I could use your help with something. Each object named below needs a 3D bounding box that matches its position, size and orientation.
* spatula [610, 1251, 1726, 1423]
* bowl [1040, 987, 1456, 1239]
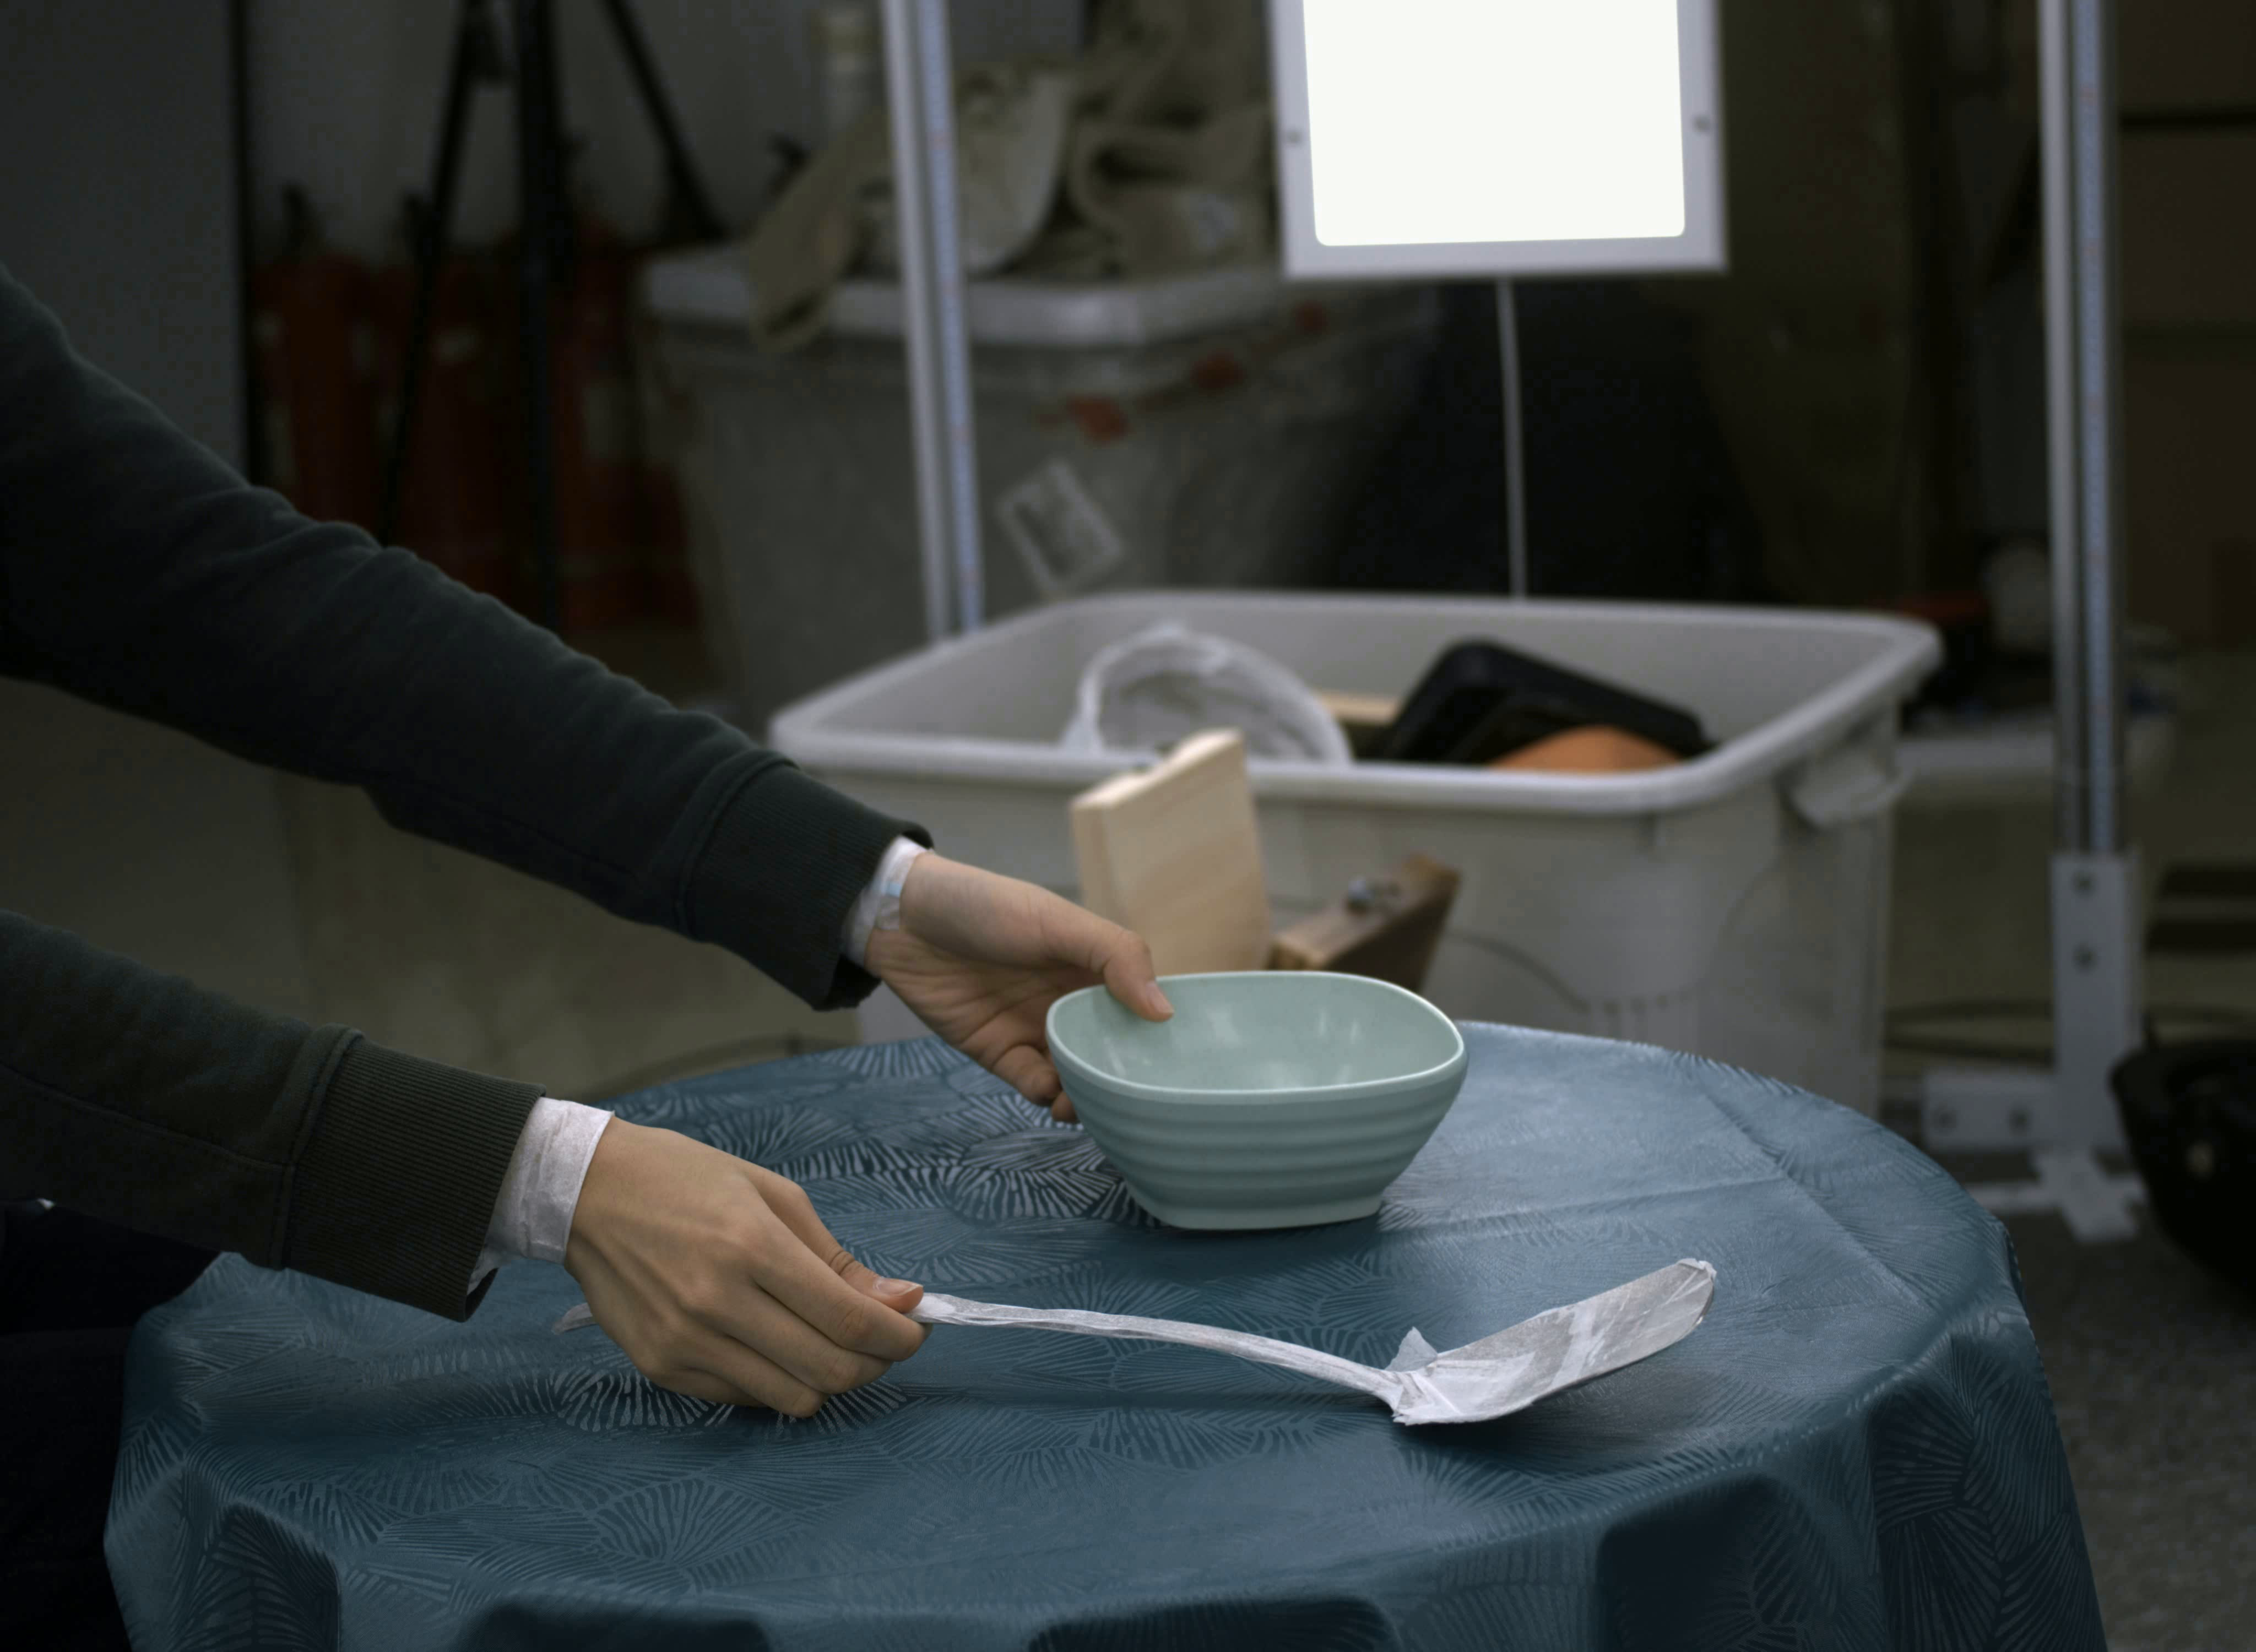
[{"bbox_3d":[0.003,0.149,1.696,0.369,0.045,0.097,4,17,19],"label":"spatula"},{"bbox_3d":[0.040,0.100,1.870,0.151,0.059,0.151,0,13,-1],"label":"bowl"}]
